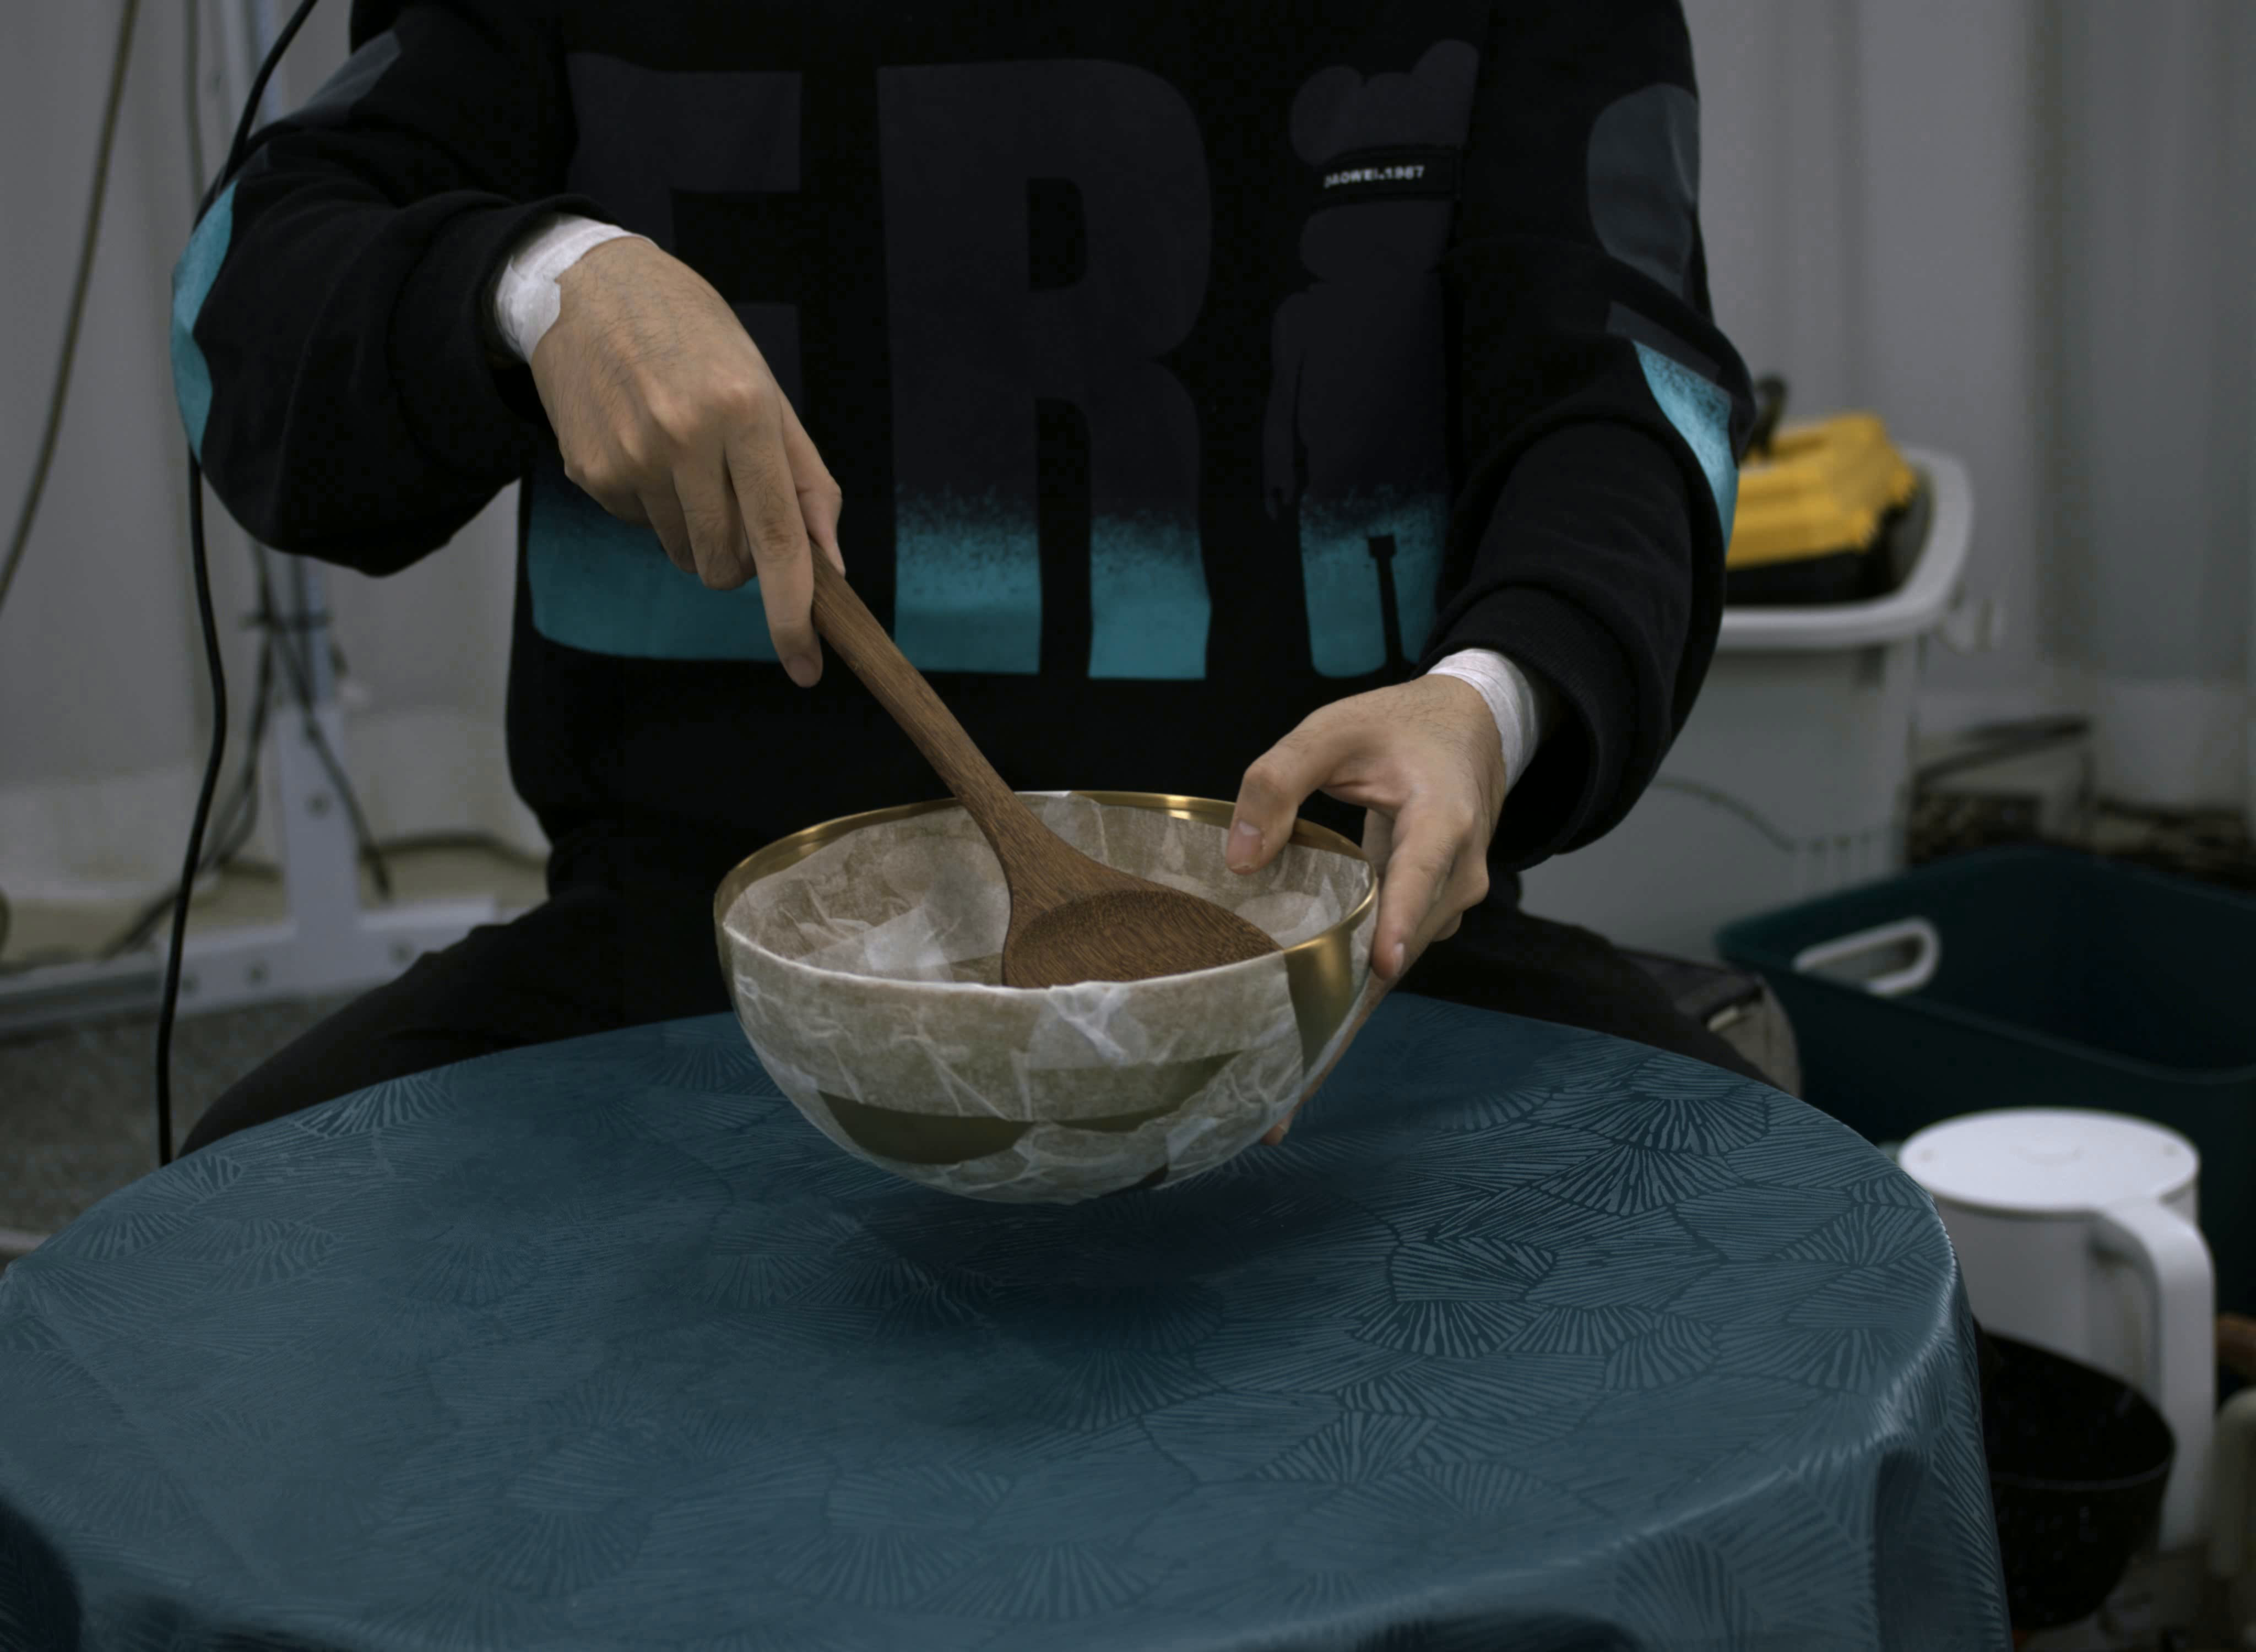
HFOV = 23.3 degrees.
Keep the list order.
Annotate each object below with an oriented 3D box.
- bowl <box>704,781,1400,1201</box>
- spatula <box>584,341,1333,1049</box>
[{"bbox_3d":[-0.022,0.058,1.646,0.214,0.094,0.216,-2,15,0],"label":"bowl"},{"bbox_3d":[-0.072,-0.042,1.730,0.096,0.015,0.391,-17,49,-30],"label":"spatula"}]
